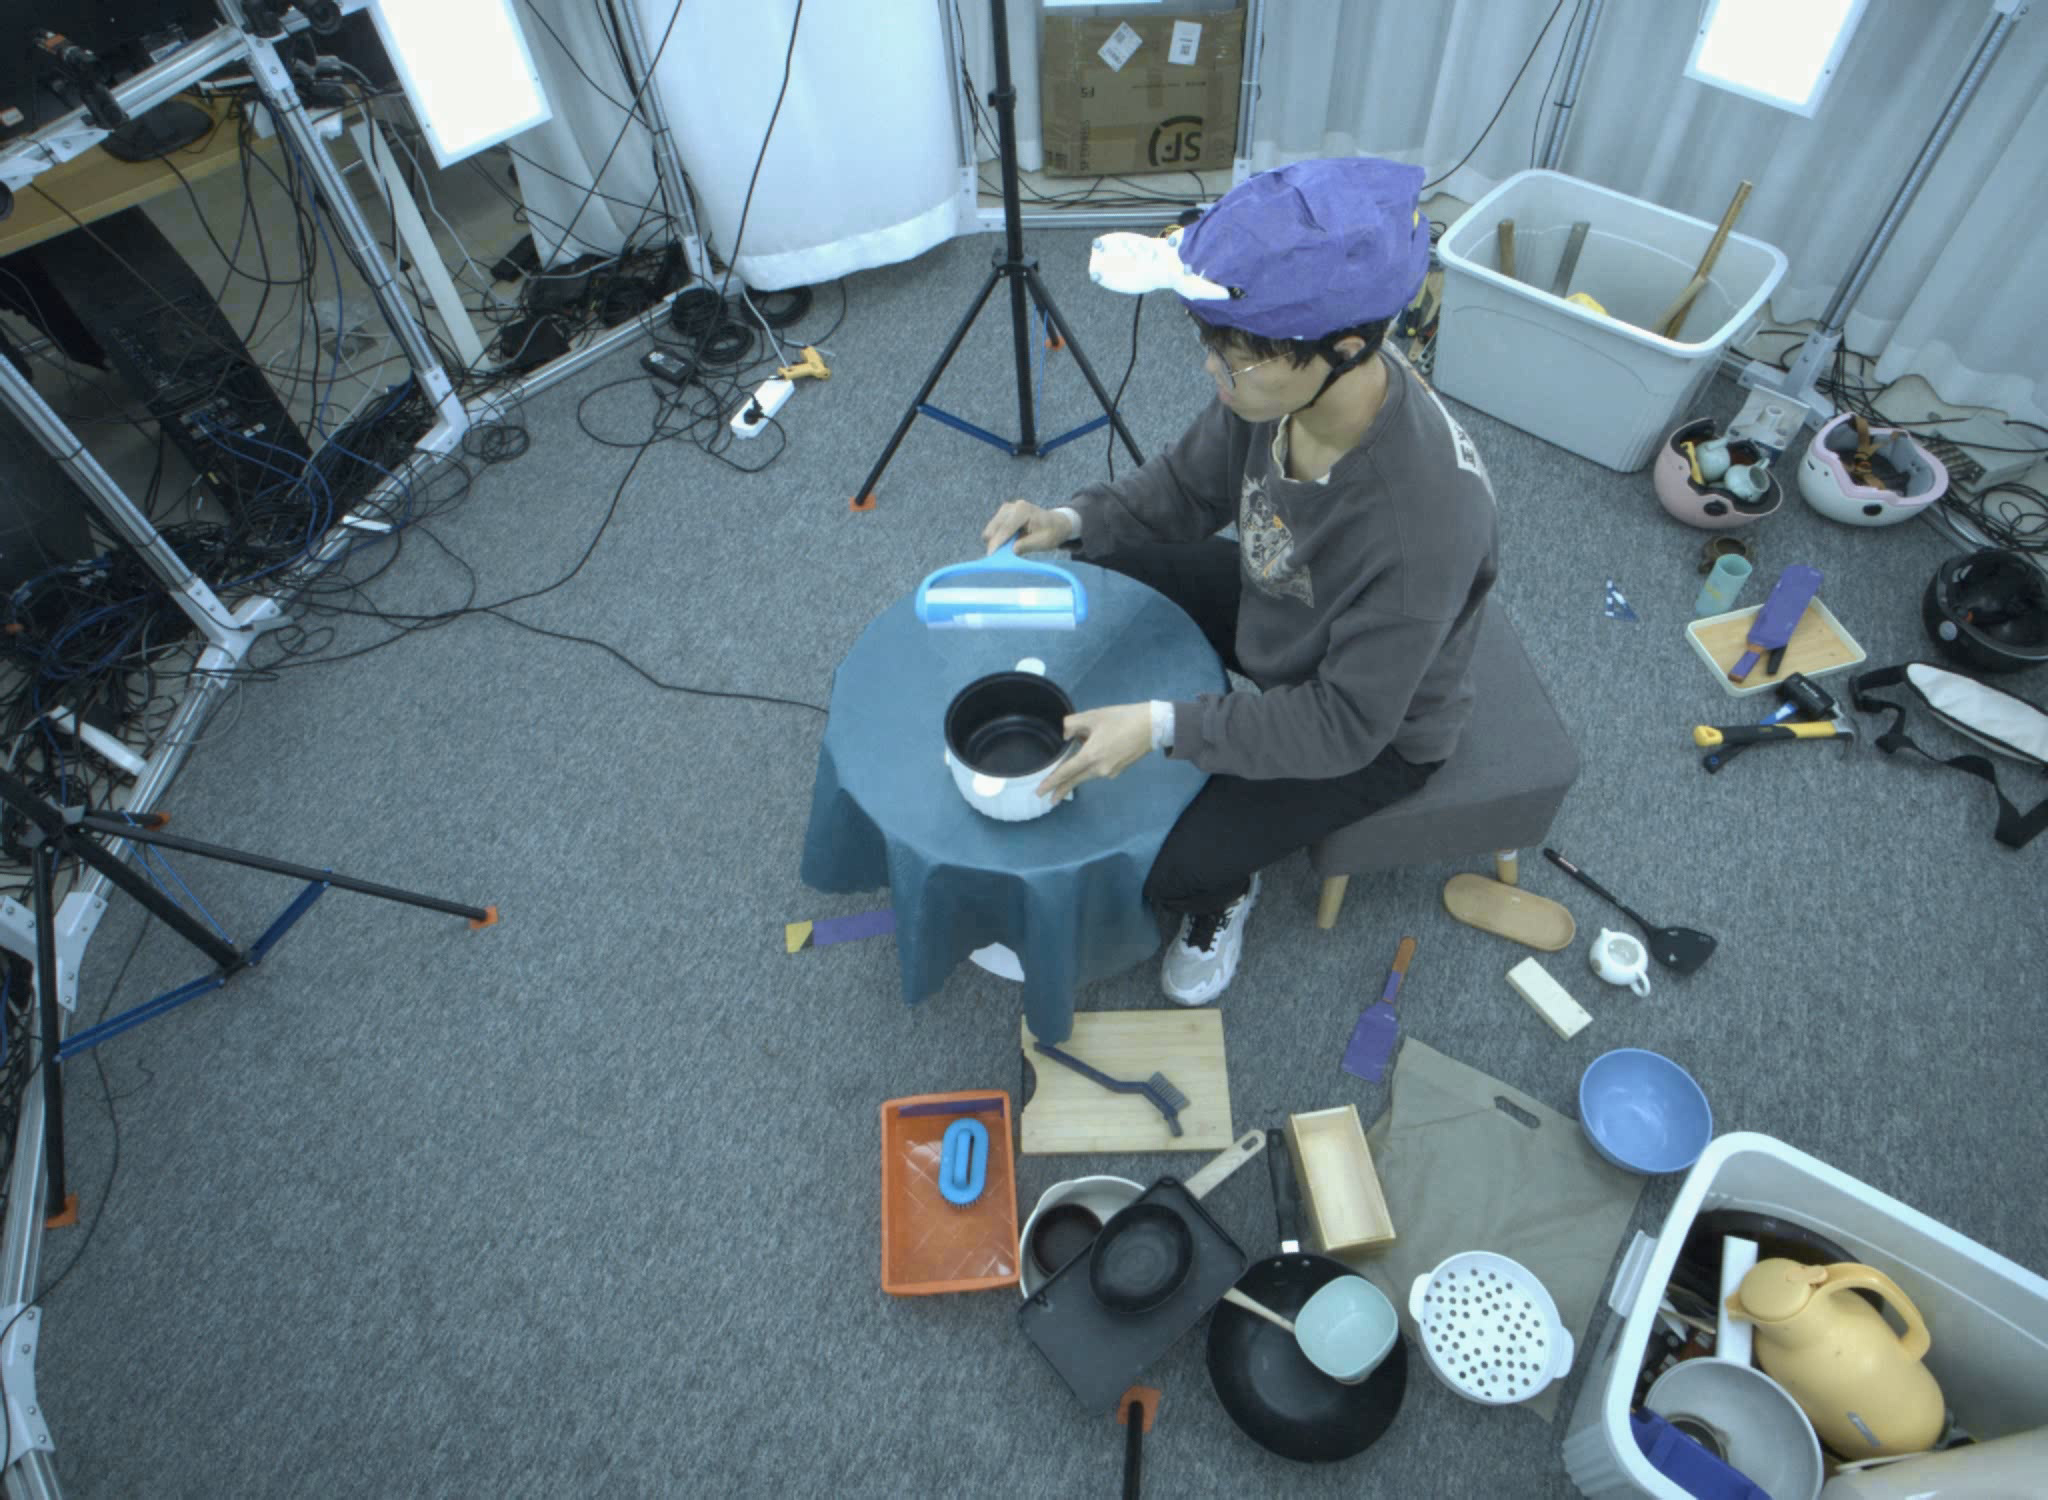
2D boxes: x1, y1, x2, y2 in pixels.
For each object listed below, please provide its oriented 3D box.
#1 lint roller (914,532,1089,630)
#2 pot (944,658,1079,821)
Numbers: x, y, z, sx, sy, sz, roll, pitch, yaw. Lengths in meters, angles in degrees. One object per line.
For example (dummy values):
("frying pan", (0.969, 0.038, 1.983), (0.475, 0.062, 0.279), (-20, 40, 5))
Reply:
("lint roller", (-0.028, -0.236, 1.621), (0.228, 0.069, 0.178), (-1, 60, 4))
("pot", (-0.020, 0.002, 1.698), (0.189, 0.144, 0.239), (13, 54, 8))
